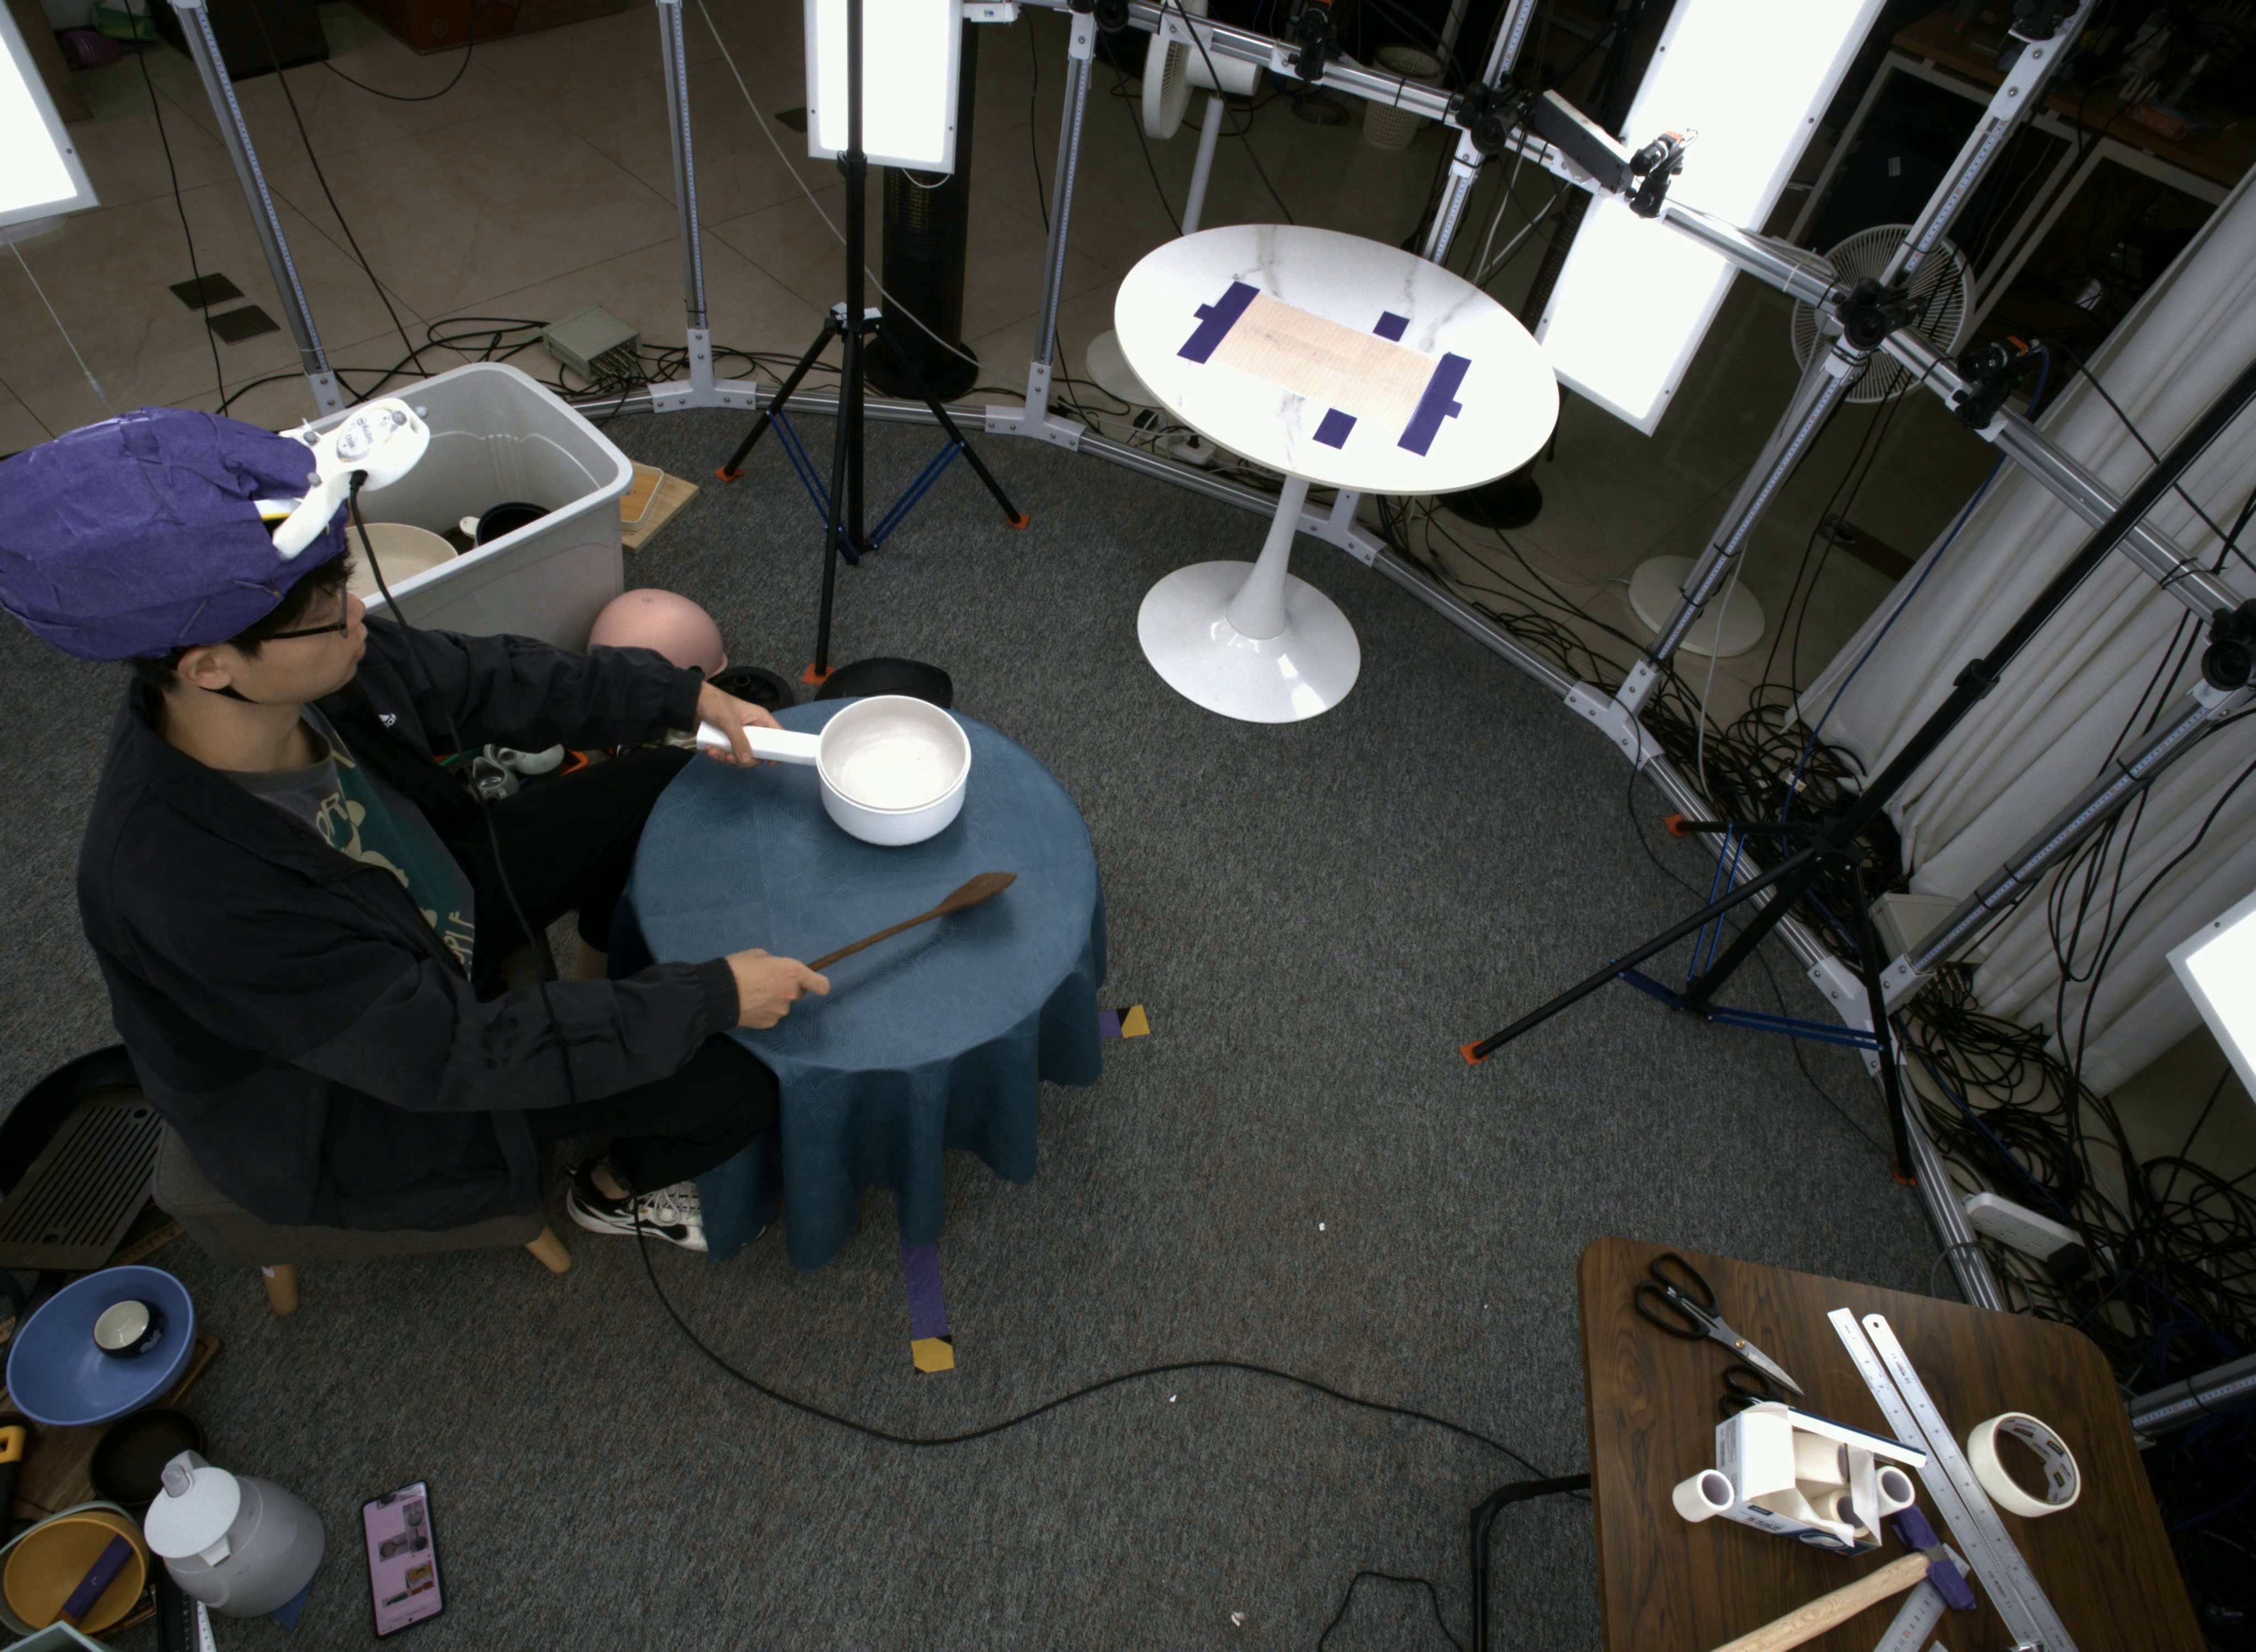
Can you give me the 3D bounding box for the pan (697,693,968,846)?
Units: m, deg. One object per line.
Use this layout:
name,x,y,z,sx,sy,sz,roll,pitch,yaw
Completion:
pan,-0.391,-0.080,1.730,0.353,0.104,0.198,7,53,-6

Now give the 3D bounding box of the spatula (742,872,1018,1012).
spatula,-0.301,0.134,1.598,0.388,0.093,0.016,-26,104,-33
